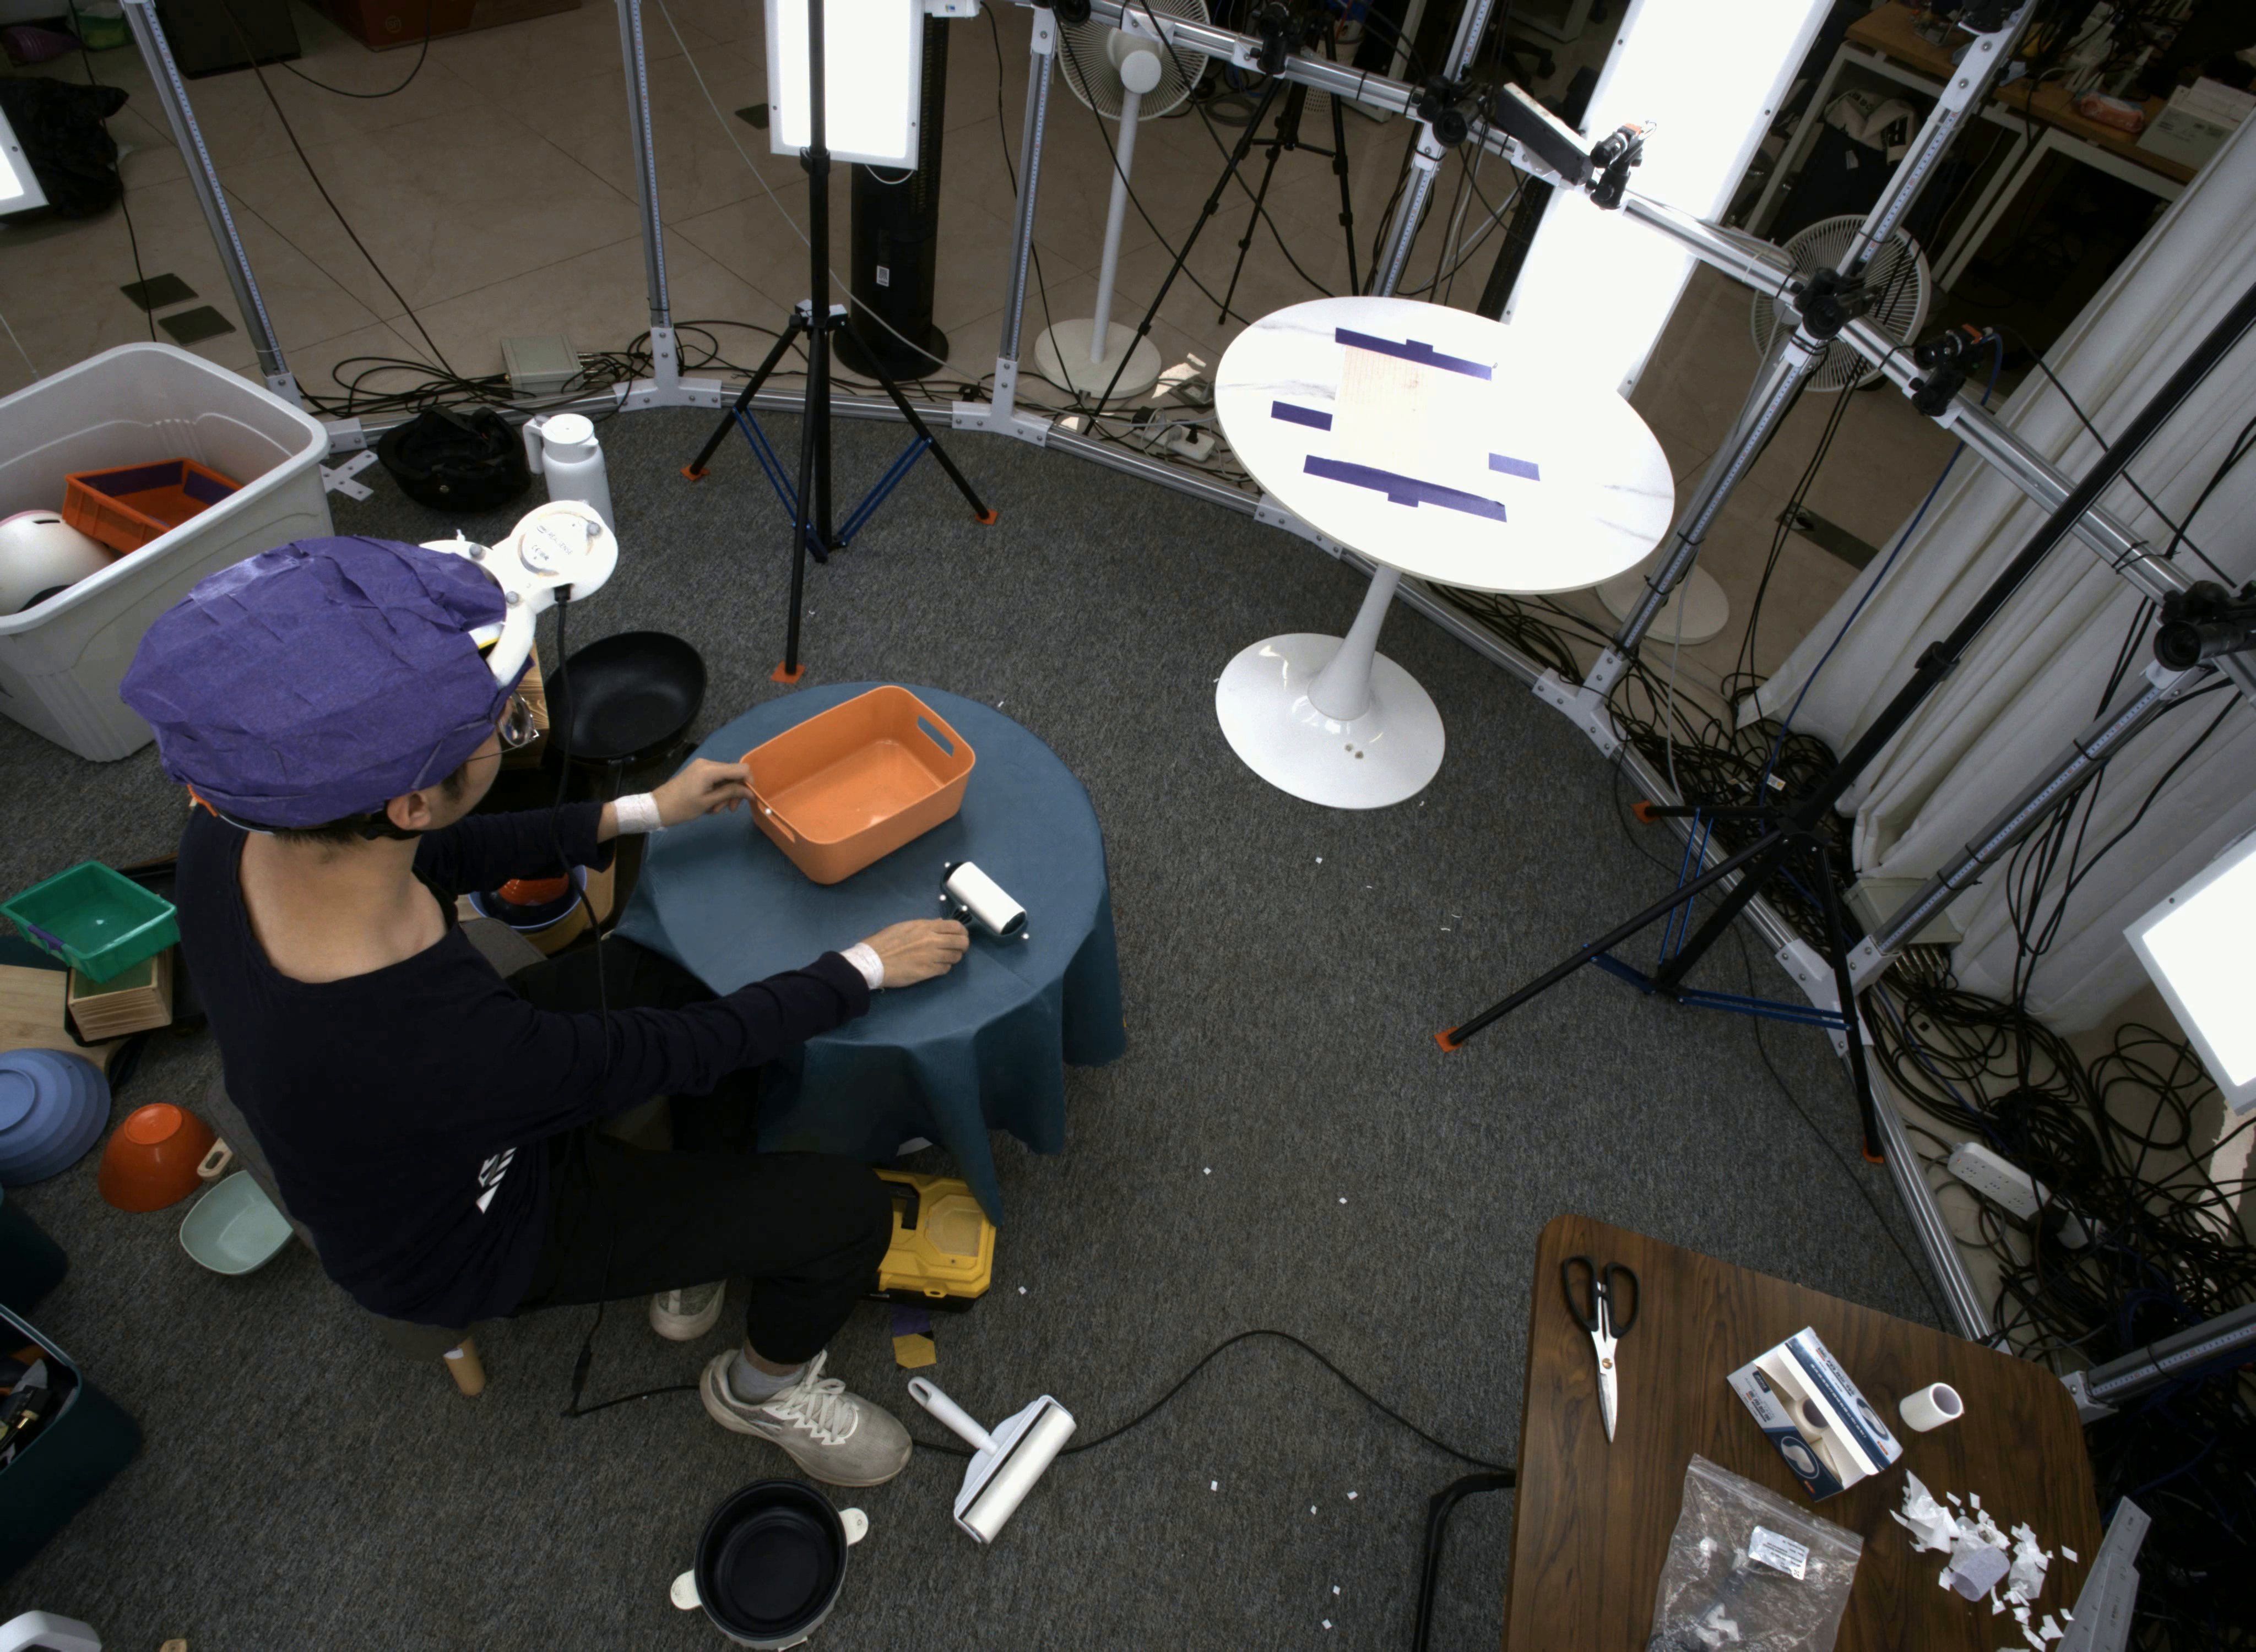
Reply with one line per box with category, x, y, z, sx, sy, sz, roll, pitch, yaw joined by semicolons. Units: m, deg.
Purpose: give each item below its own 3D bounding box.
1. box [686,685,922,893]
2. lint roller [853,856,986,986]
box;-0.417;-0.047;1.697;0.194;0.105;0.273;39;54;19
lint roller;-0.279;0.130;1.639;0.131;0.049;0.180;38;54;14
